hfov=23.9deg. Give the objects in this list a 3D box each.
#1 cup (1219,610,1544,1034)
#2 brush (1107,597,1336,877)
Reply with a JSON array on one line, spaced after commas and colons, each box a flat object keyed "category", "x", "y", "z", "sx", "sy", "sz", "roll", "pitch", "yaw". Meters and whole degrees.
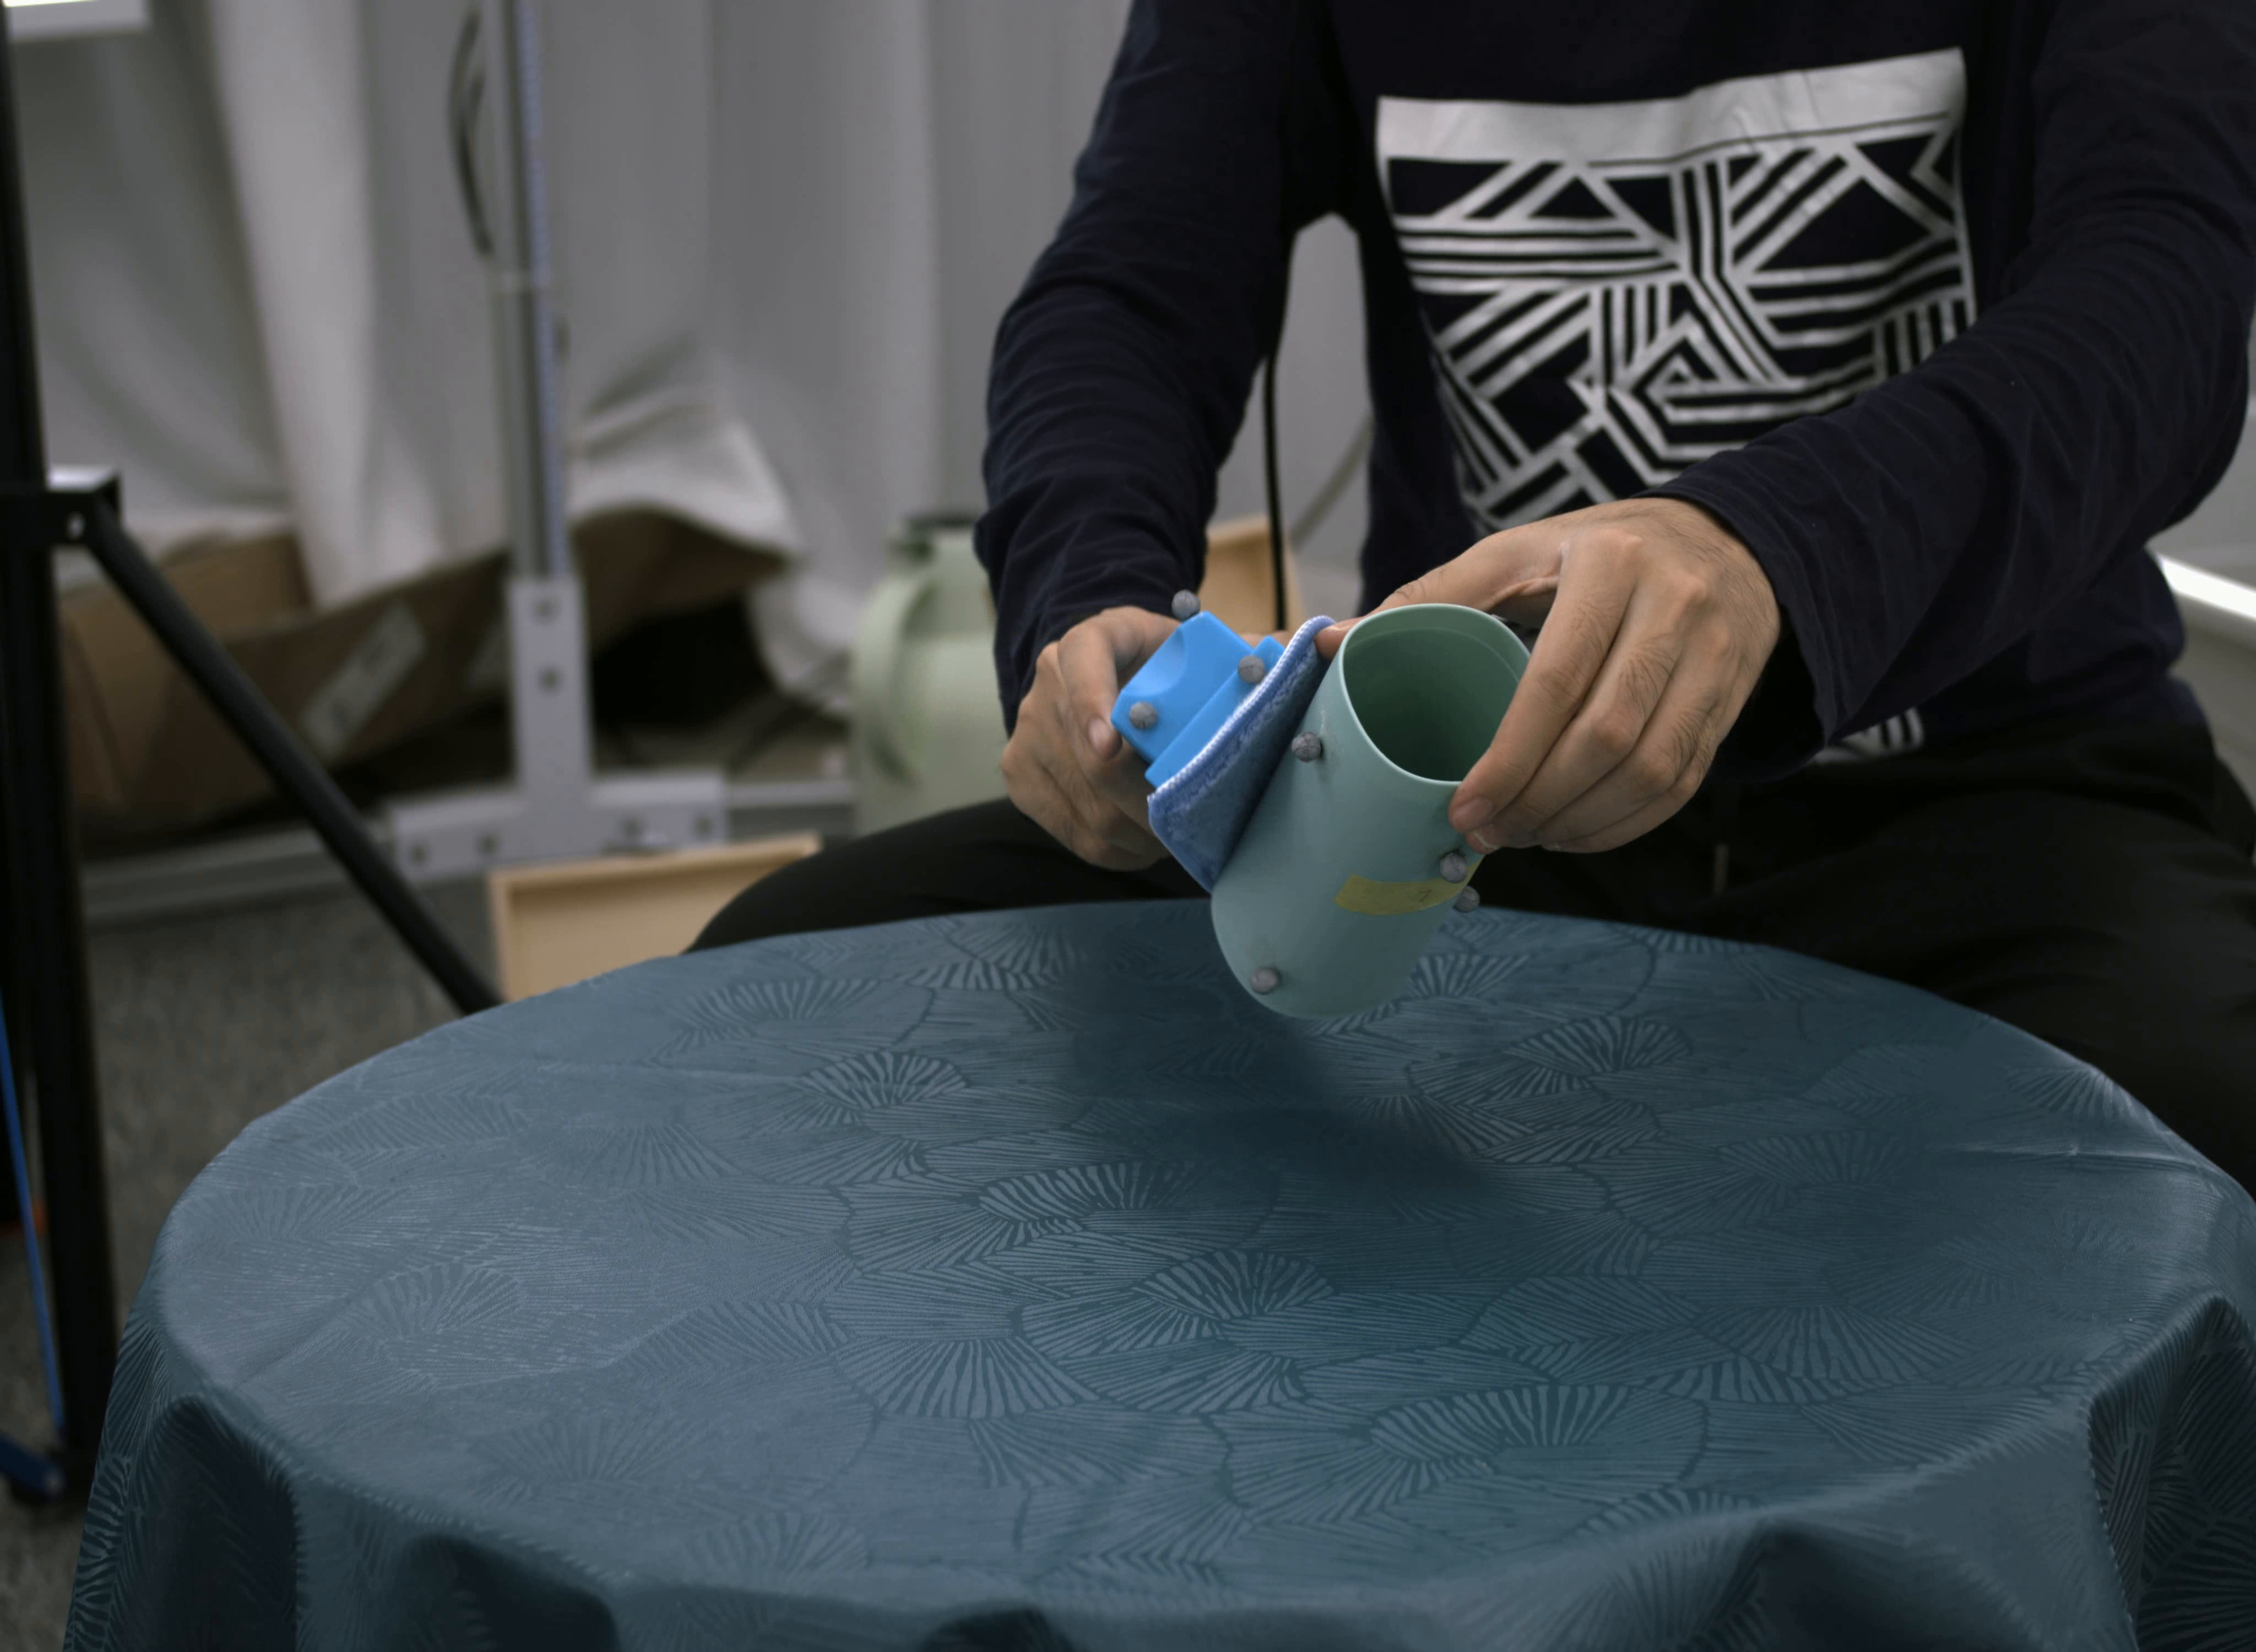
[{"category": "cup", "x": 0.072, "y": -0.001, "z": 1.551, "sx": 0.066, "sy": 0.132, "sz": 0.067, "roll": 7, "pitch": 54, "yaw": -11}, {"category": "brush", "x": 0.027, "y": -0.031, "z": 1.599, "sx": 0.084, "sy": 0.056, "sz": 0.142, "roll": -43, "pitch": -13, "yaw": 1}]
